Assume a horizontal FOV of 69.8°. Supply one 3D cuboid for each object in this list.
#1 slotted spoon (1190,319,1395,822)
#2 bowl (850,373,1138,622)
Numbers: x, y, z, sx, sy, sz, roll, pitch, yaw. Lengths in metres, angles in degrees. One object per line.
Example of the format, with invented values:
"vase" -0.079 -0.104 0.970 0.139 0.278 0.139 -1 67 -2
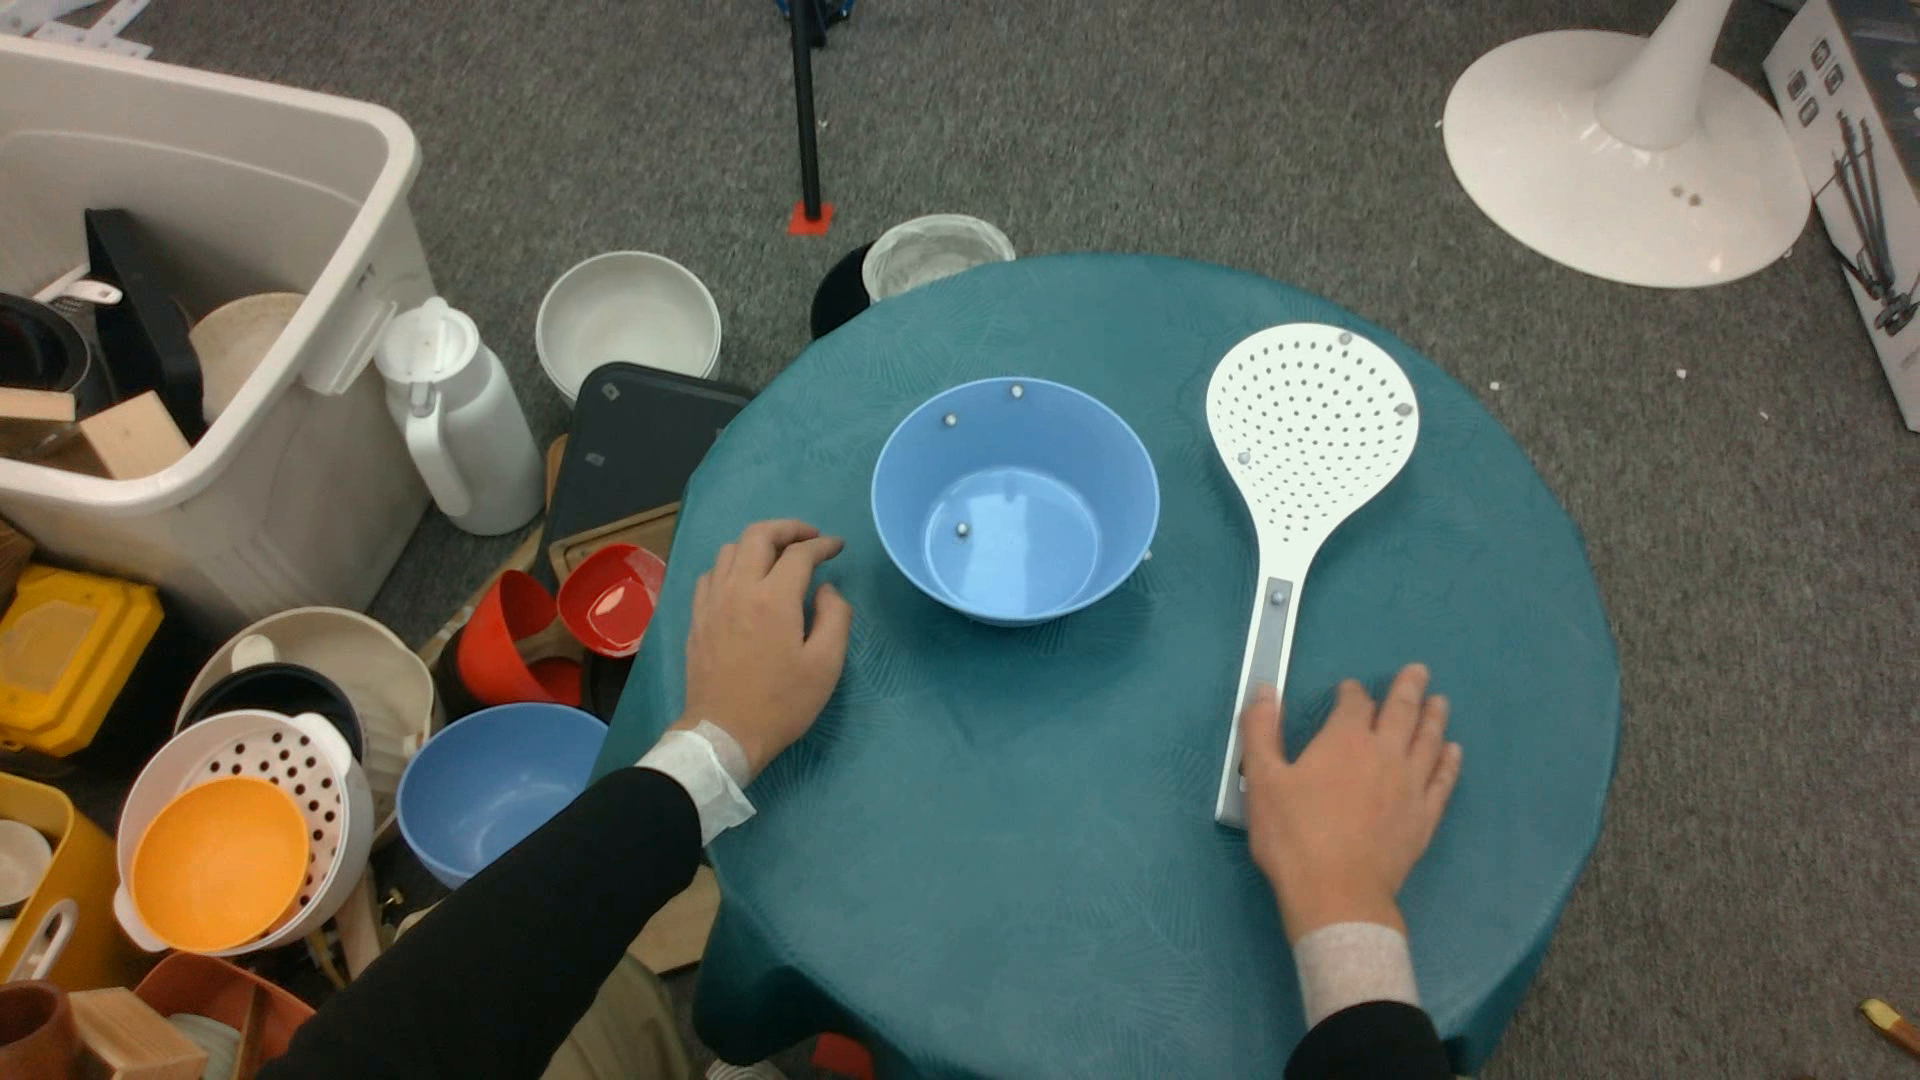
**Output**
"slotted spoon" 0.193 0.008 0.868 0.136 0.045 0.351 13 60 6
"bowl" 0.020 -0.016 0.862 0.176 0.070 0.177 1 59 -1
